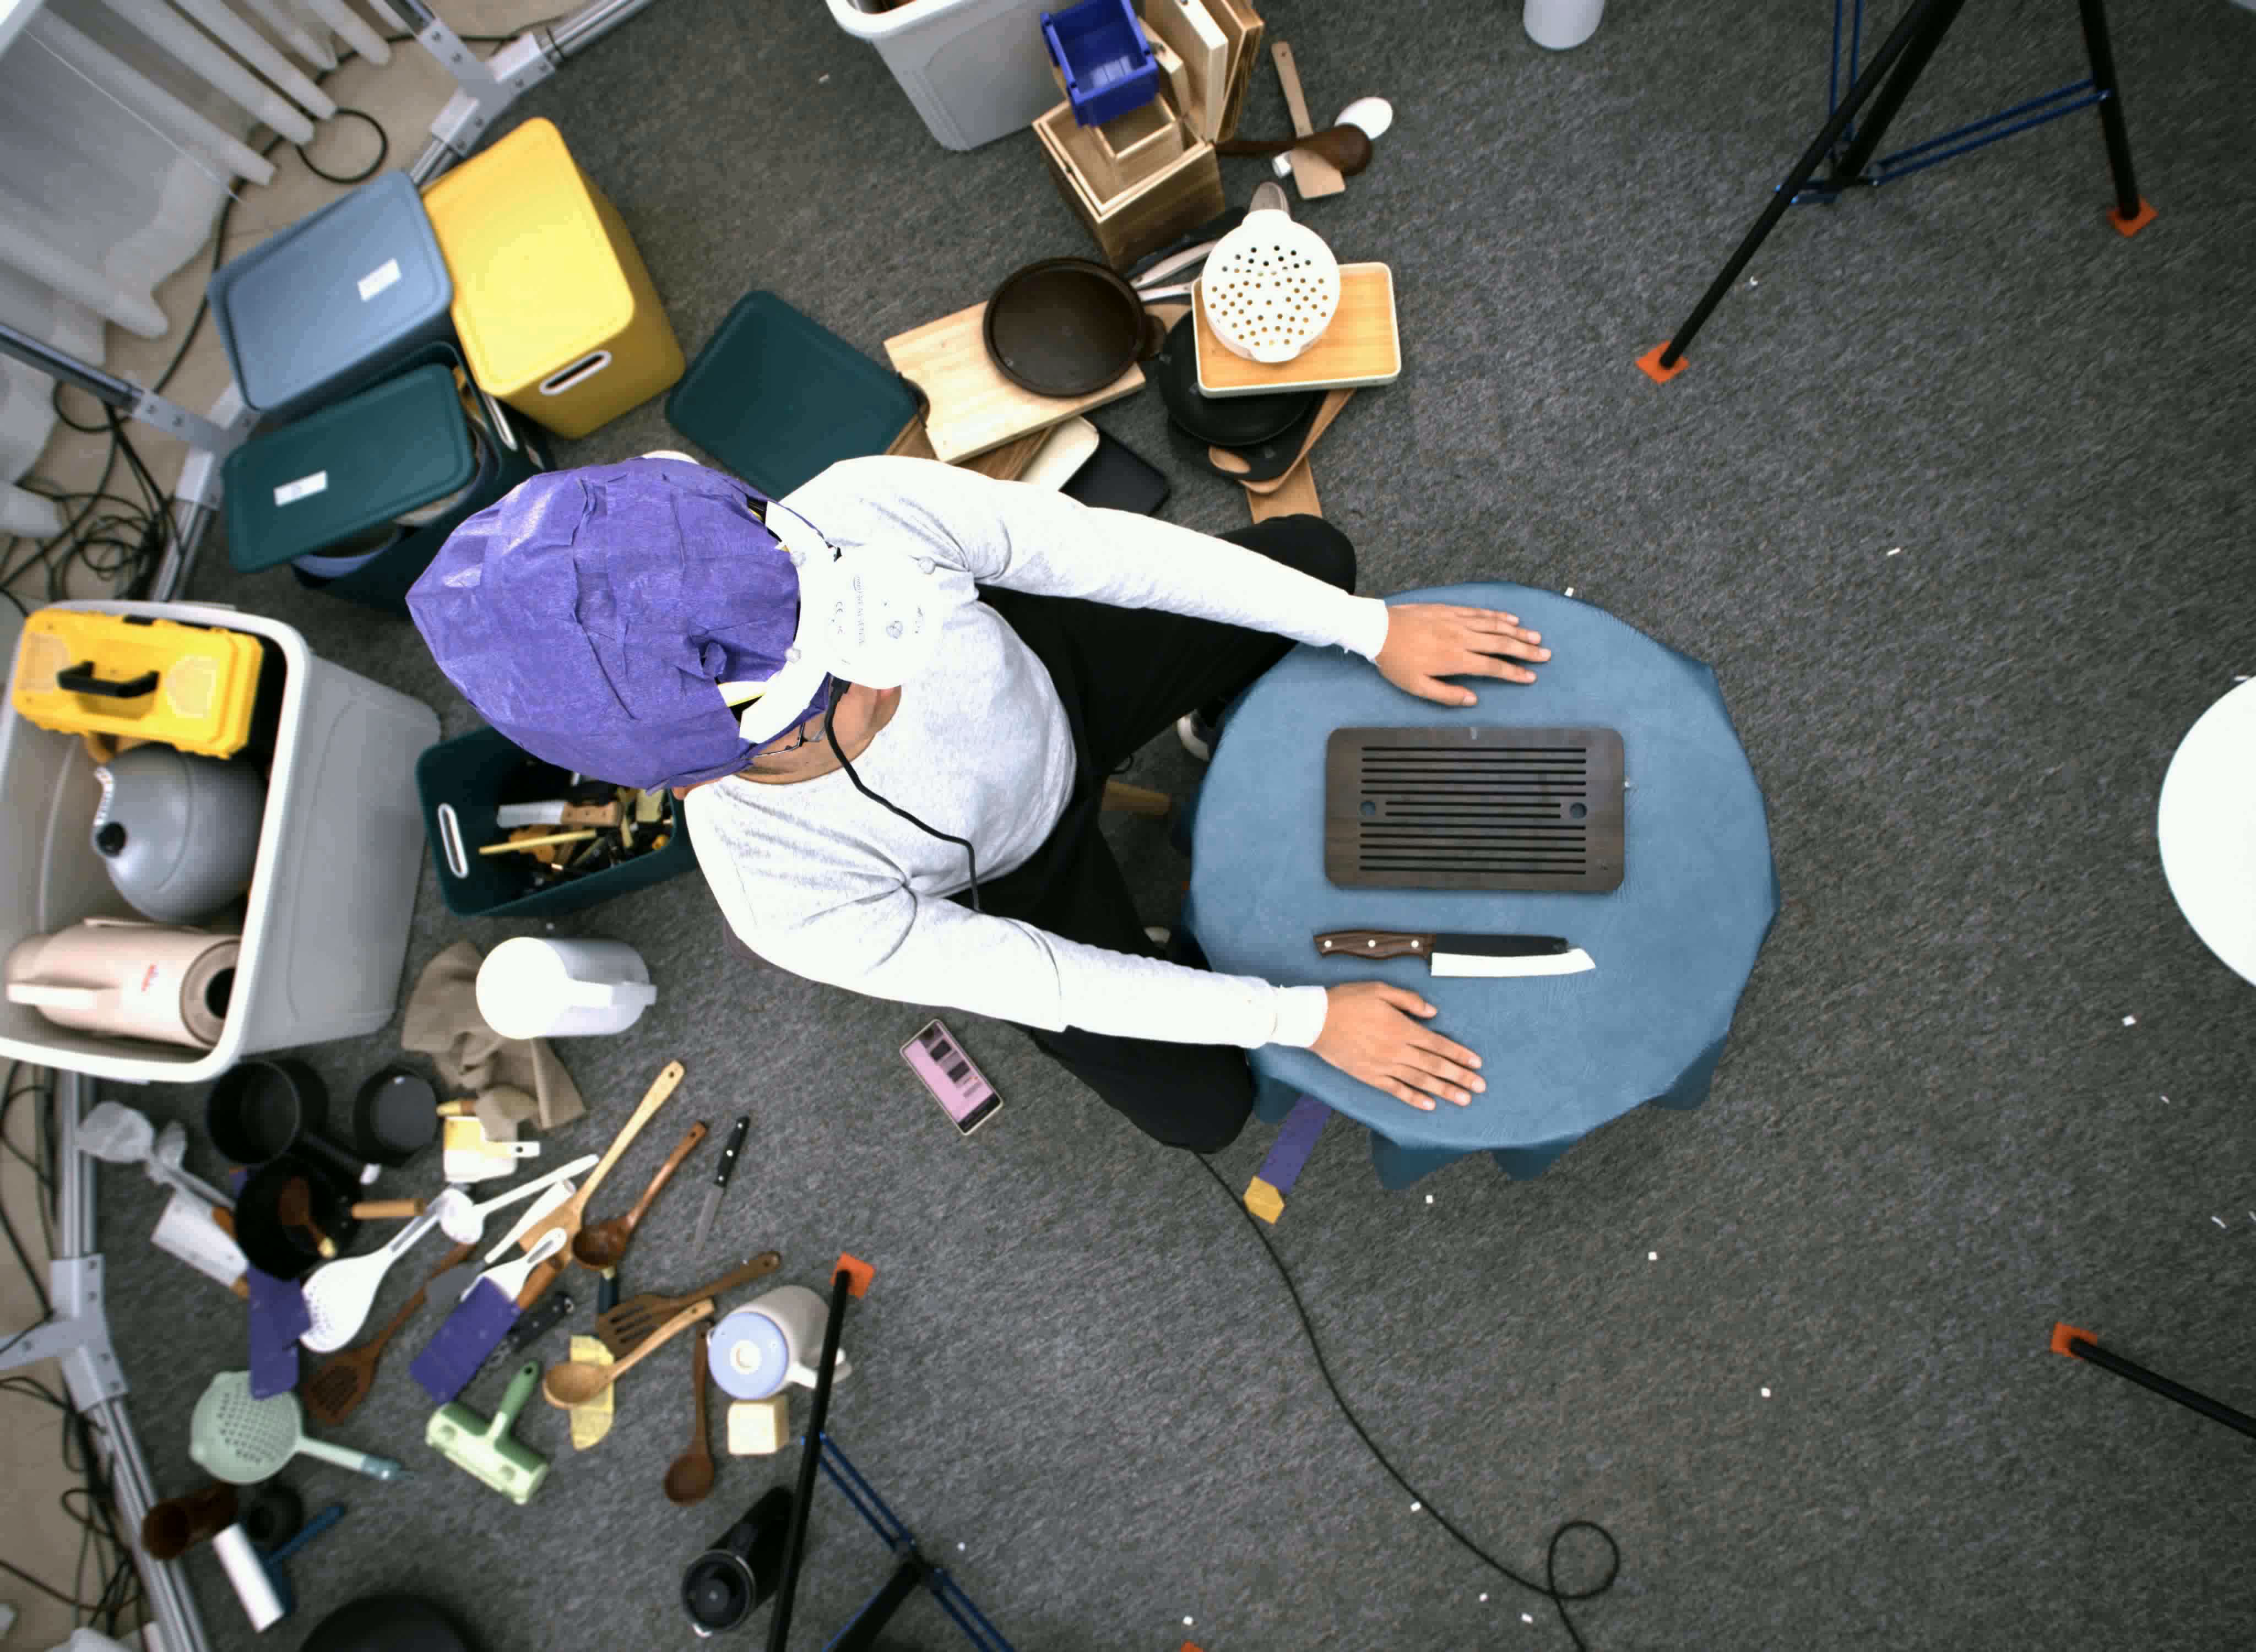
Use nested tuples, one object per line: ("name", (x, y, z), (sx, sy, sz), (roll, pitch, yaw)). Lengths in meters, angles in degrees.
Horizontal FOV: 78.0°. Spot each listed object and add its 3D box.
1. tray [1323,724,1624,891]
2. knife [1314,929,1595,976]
("tray", (0.360, -0.023, 1.440), (0.307, 0.018, 0.169), (1, 87, 11))
("knife", (0.339, 0.129, 1.437), (0.290, 0.020, 0.050), (3, 92, 9))
